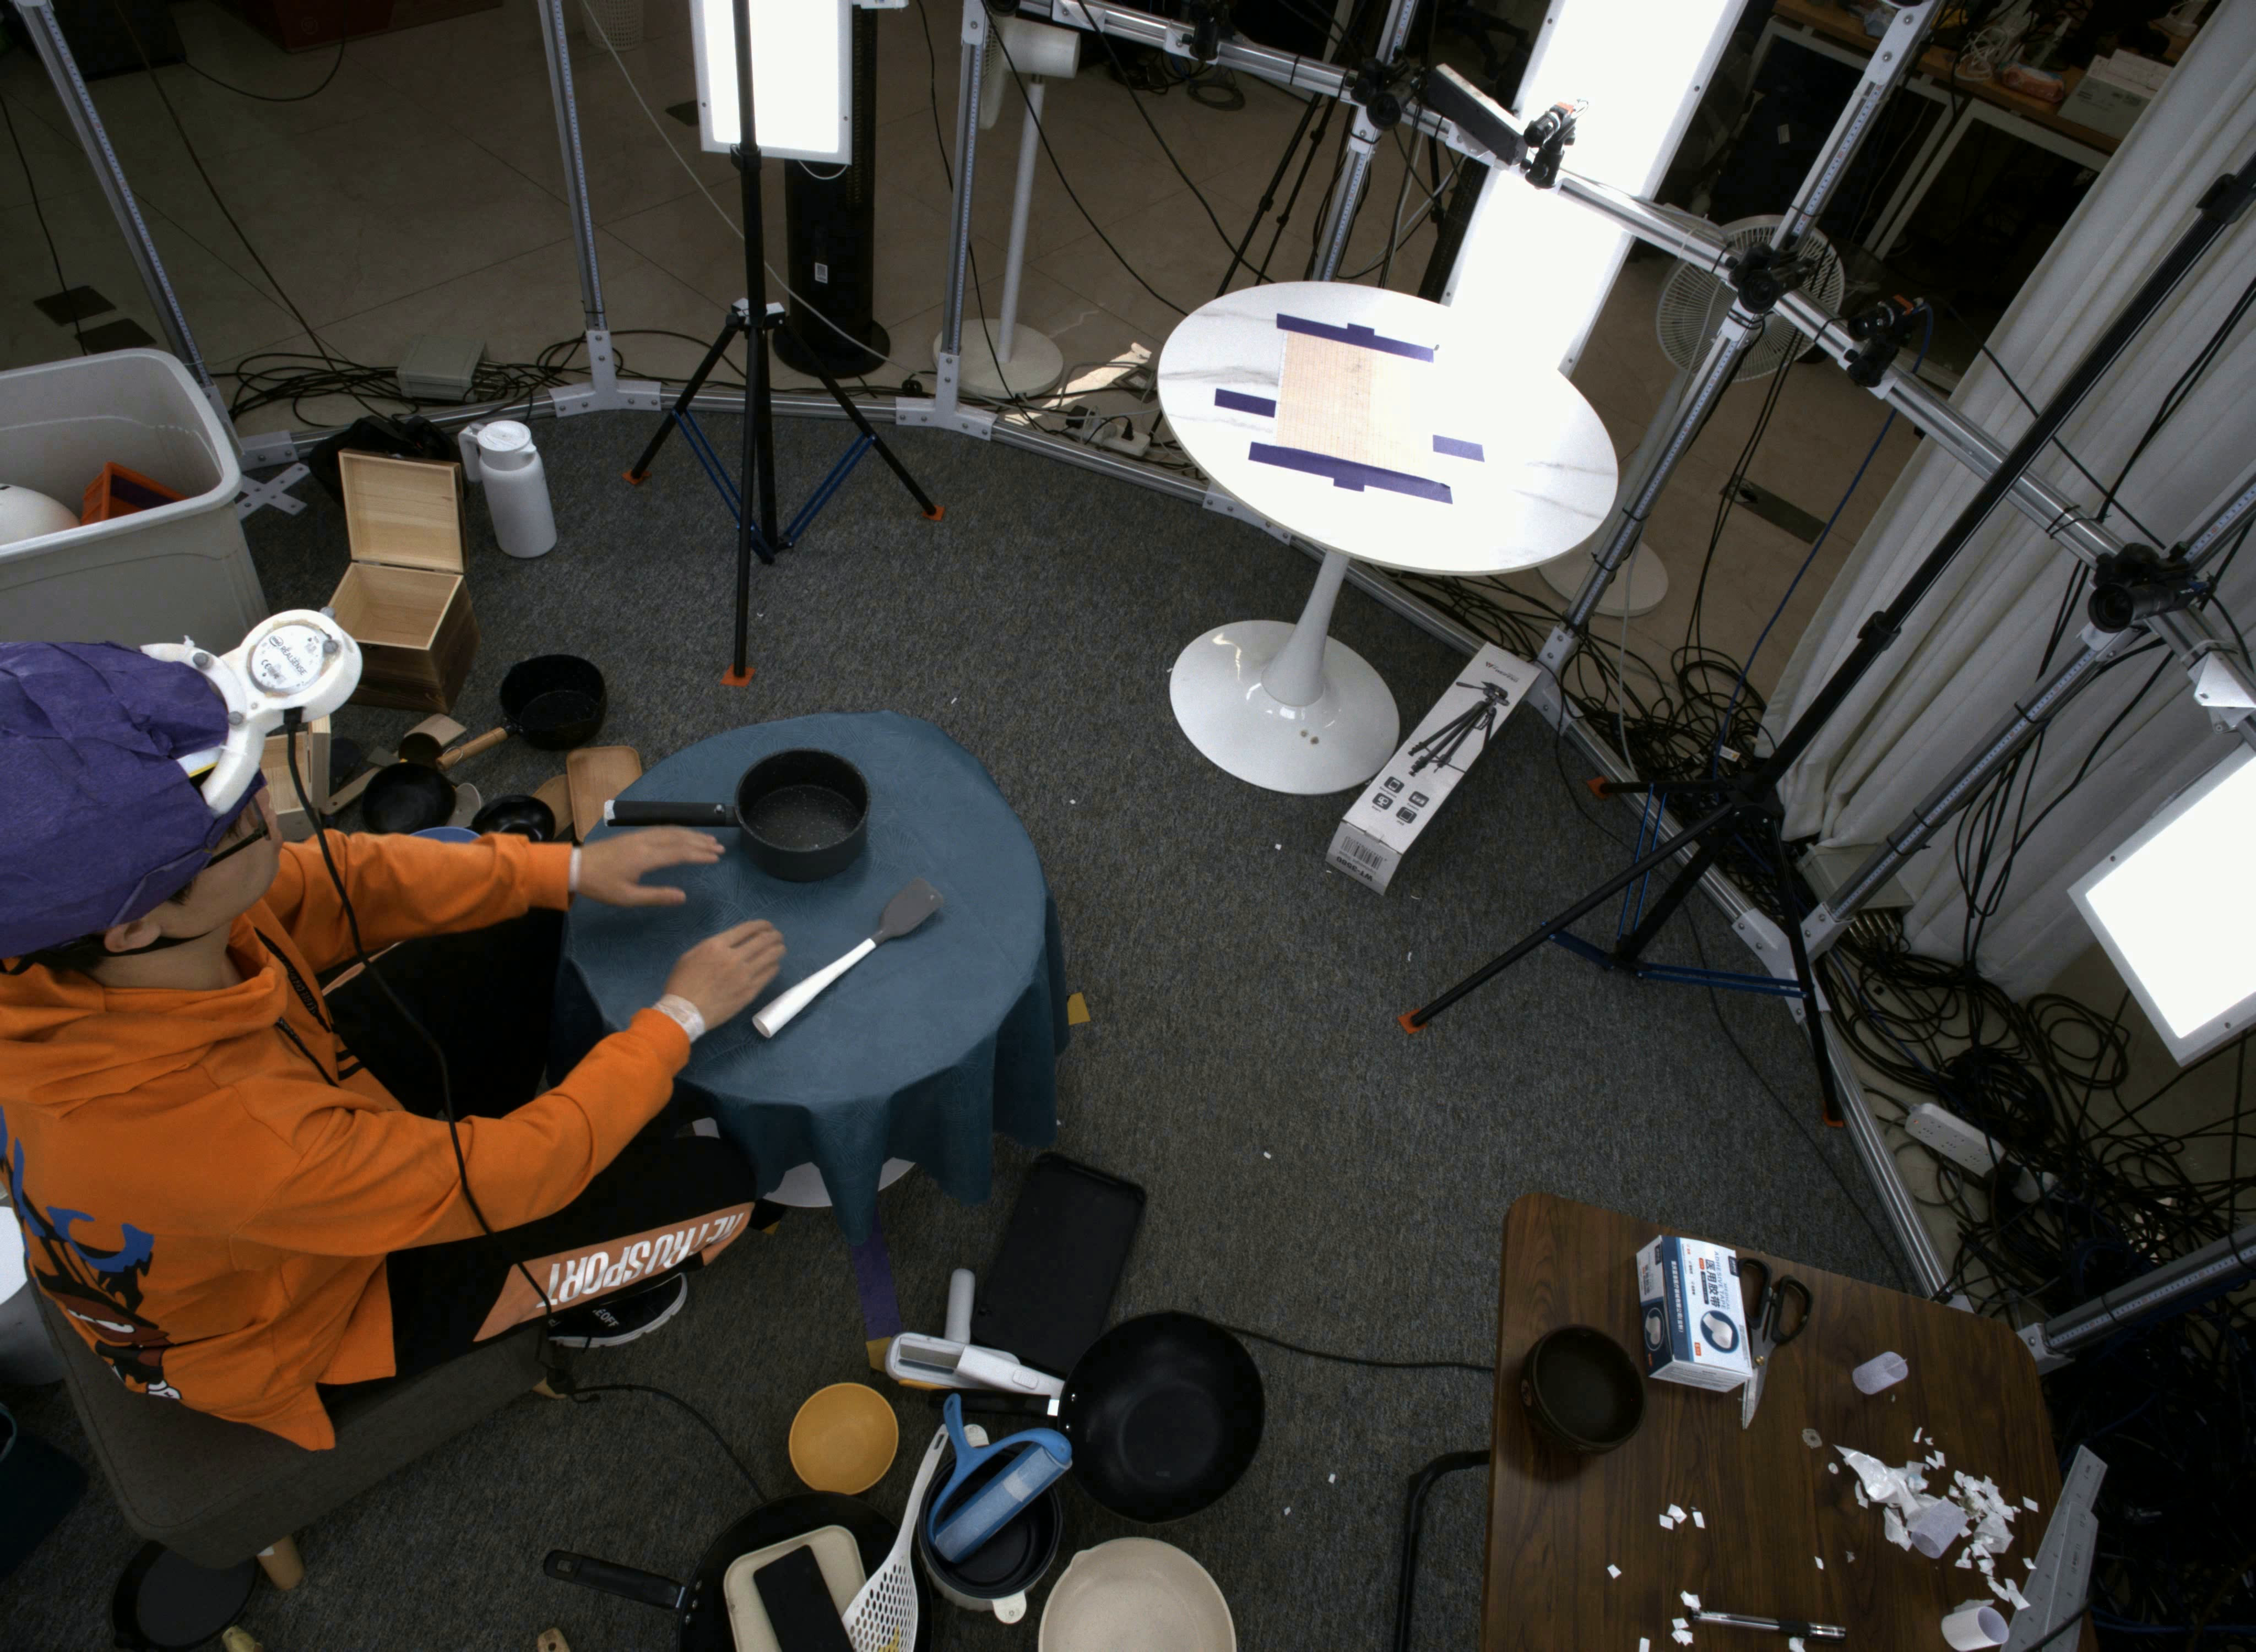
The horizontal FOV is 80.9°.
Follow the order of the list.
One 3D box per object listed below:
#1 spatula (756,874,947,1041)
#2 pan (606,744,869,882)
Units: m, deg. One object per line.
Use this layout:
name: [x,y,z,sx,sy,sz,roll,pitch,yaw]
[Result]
spatula: [-0.338,0.158,1.598,0.057,0.033,0.288,37,54,15]
pan: [-0.497,-0.013,1.649,0.330,0.088,0.168,-2,53,-19]
